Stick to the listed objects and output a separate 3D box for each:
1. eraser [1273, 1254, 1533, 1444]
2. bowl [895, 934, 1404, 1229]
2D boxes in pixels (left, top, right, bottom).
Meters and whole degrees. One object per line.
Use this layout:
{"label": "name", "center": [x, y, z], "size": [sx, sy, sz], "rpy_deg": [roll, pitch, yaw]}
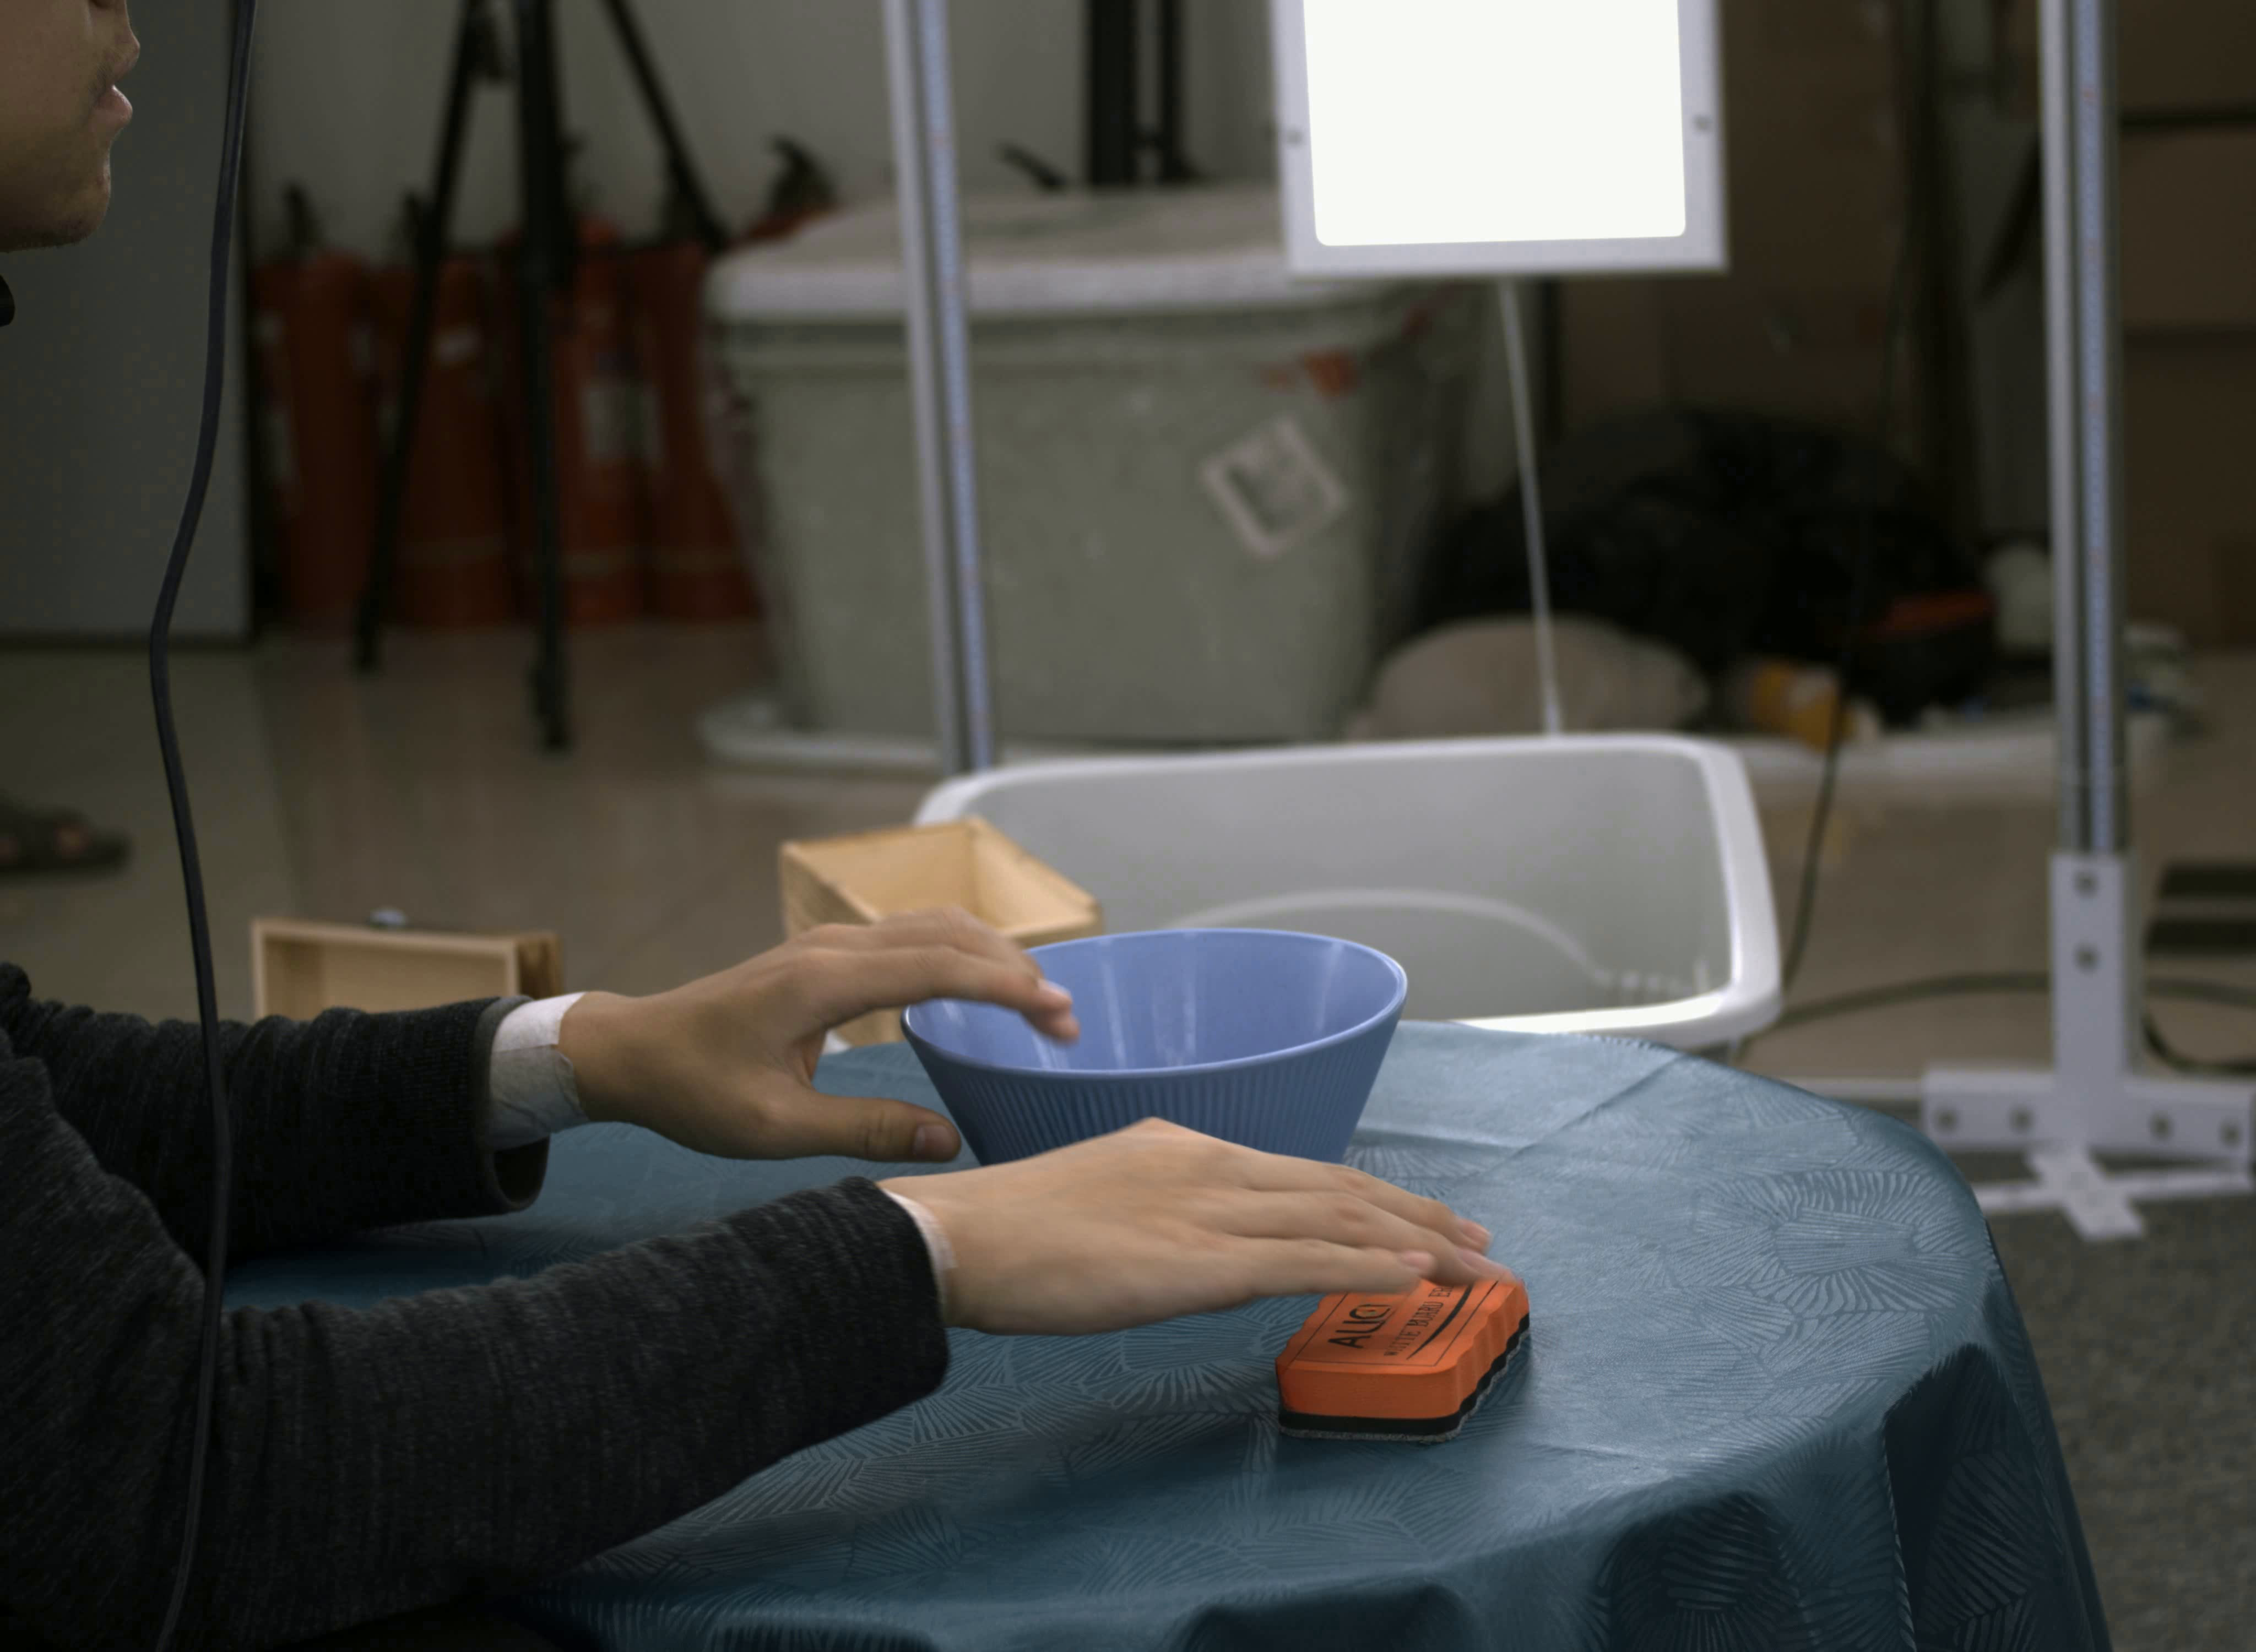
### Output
{"label": "eraser", "center": [0.085, 0.159, 1.685], "size": [0.060, 0.023, 0.106], "rpy_deg": [1, 16, 19]}
{"label": "bowl", "center": [0.010, 0.090, 1.896], "size": [0.175, 0.070, 0.176], "rpy_deg": [-5, 14, 0]}
